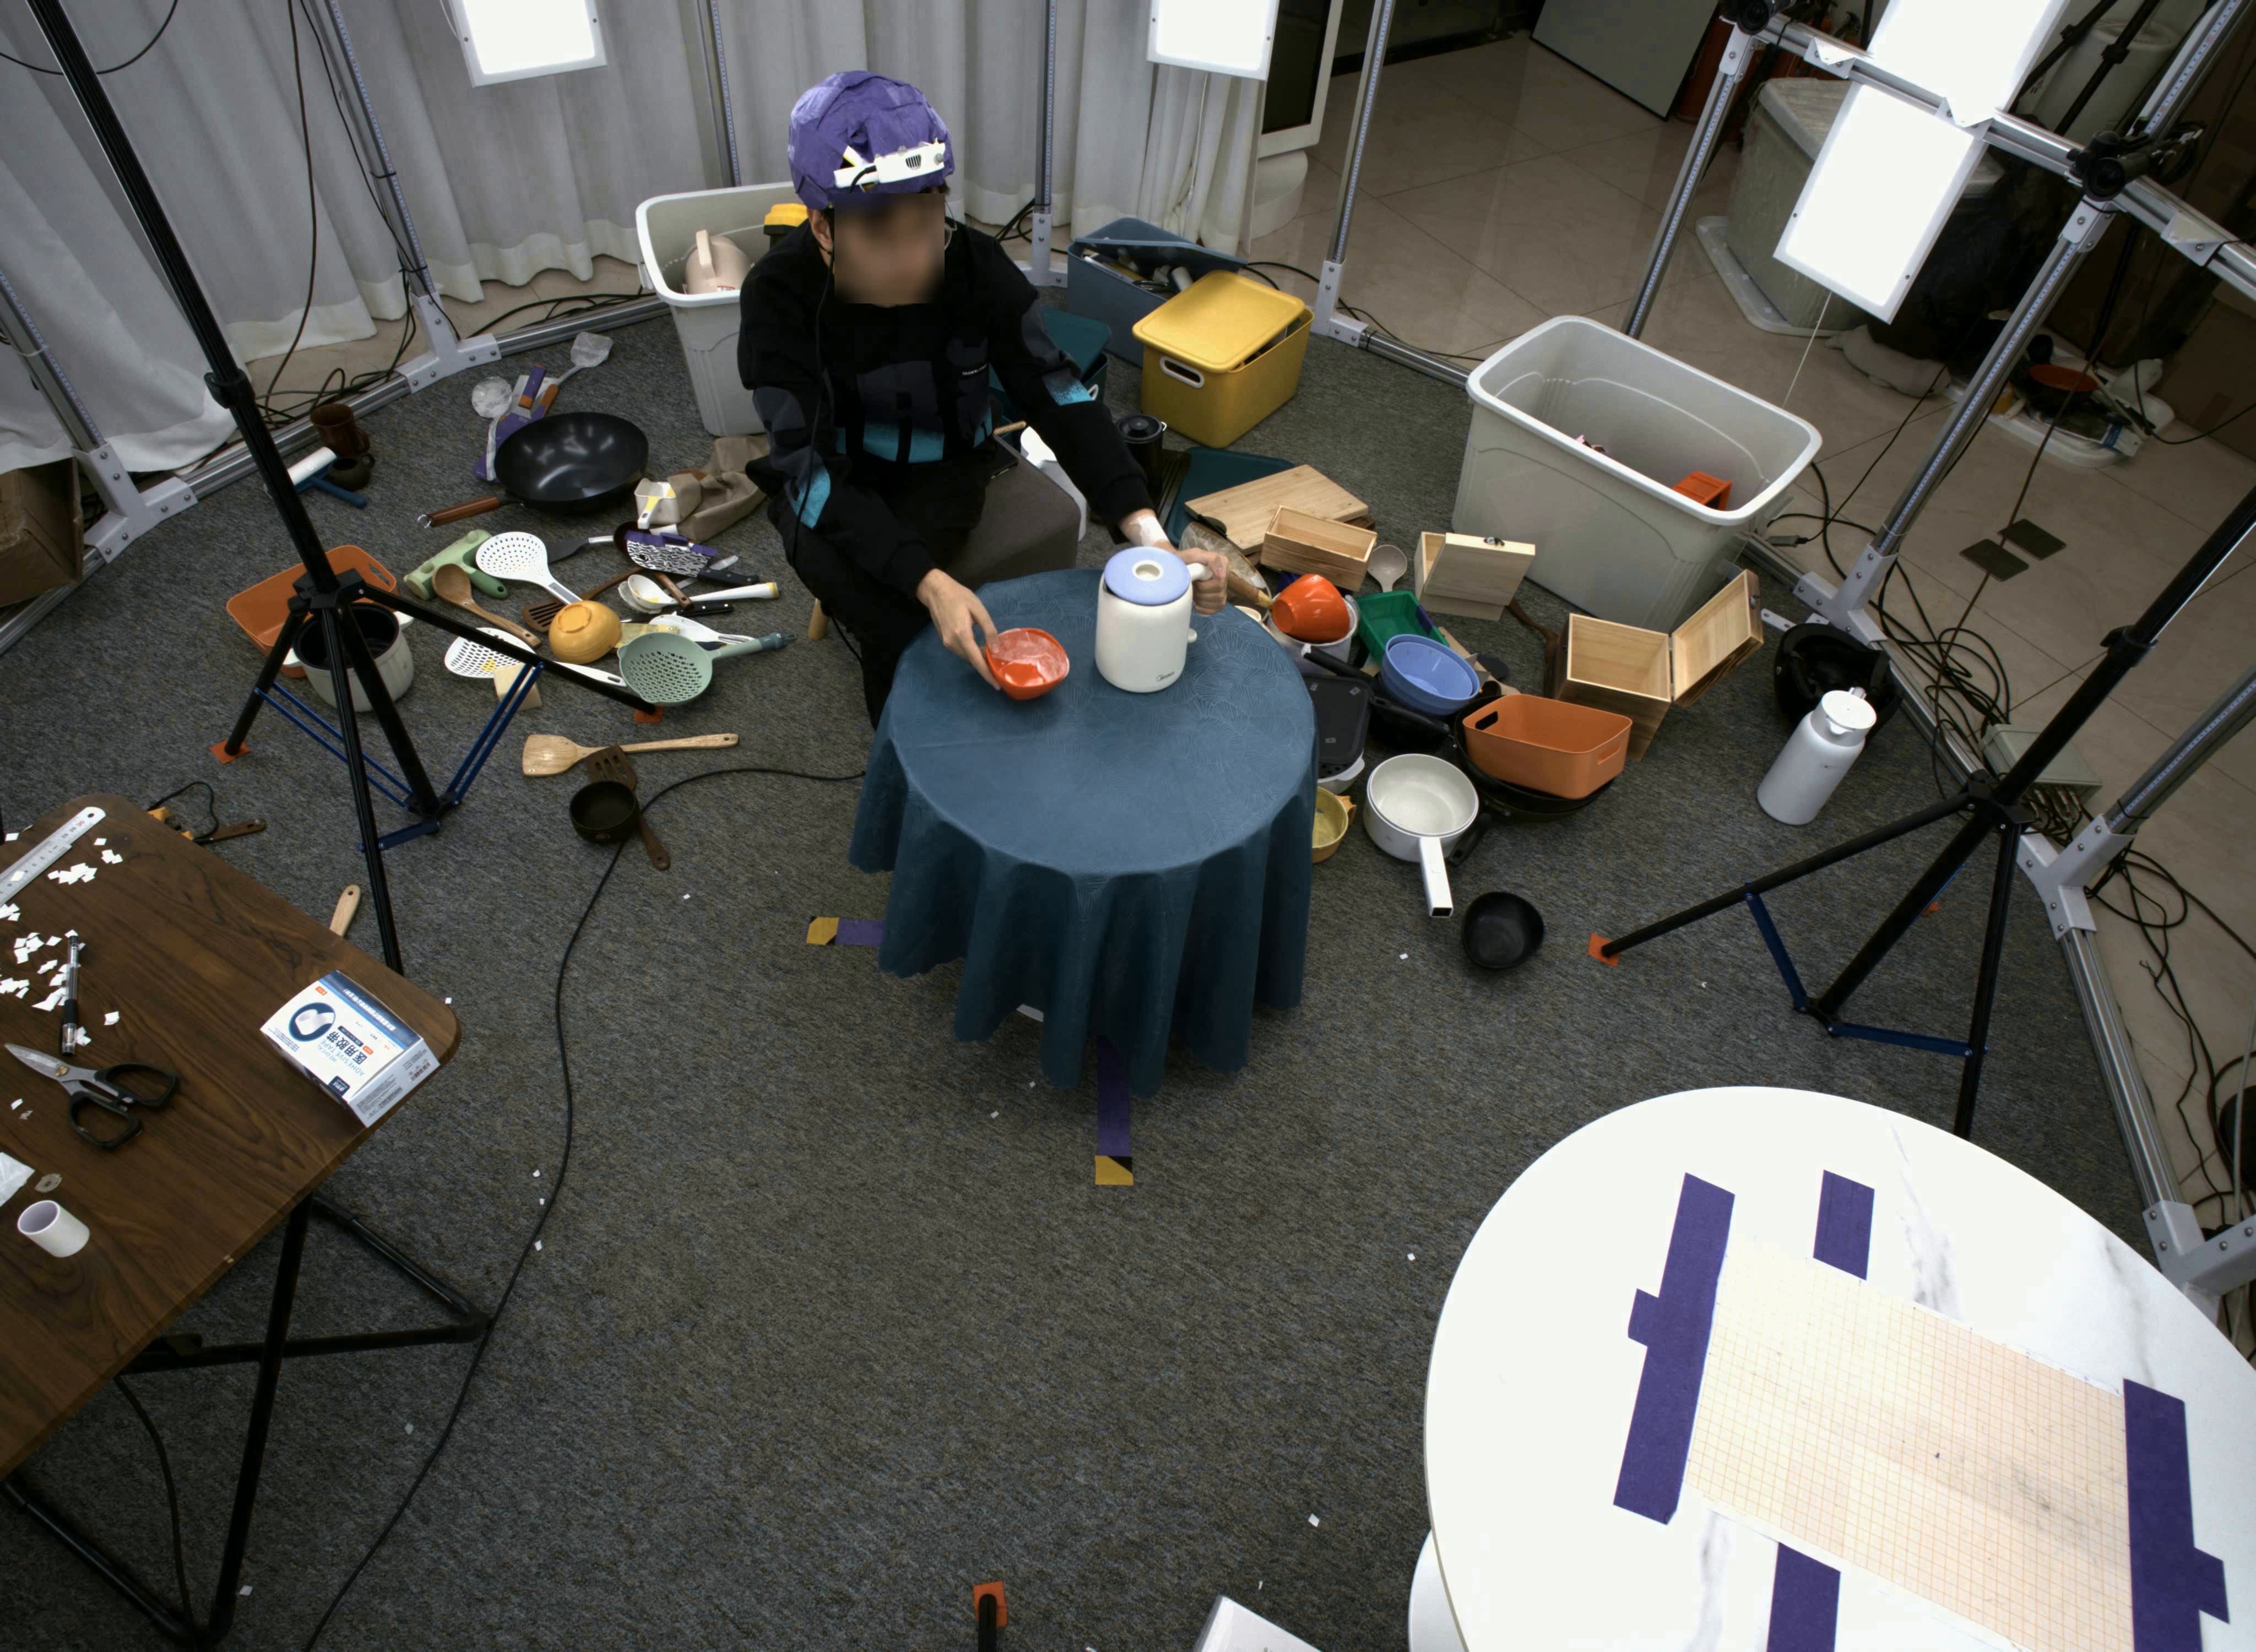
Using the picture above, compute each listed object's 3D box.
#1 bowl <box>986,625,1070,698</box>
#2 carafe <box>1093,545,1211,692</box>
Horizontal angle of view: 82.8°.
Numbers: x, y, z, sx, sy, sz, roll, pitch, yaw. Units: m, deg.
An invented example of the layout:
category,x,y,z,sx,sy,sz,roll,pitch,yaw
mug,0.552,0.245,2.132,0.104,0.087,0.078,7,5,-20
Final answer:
category,x,y,z,sx,sy,sz,roll,pitch,yaw
bowl,-0.142,-0.223,1.796,0.118,0.050,0.122,5,53,-7
carafe,0.040,-0.301,1.822,0.192,0.178,0.135,-24,57,-25
